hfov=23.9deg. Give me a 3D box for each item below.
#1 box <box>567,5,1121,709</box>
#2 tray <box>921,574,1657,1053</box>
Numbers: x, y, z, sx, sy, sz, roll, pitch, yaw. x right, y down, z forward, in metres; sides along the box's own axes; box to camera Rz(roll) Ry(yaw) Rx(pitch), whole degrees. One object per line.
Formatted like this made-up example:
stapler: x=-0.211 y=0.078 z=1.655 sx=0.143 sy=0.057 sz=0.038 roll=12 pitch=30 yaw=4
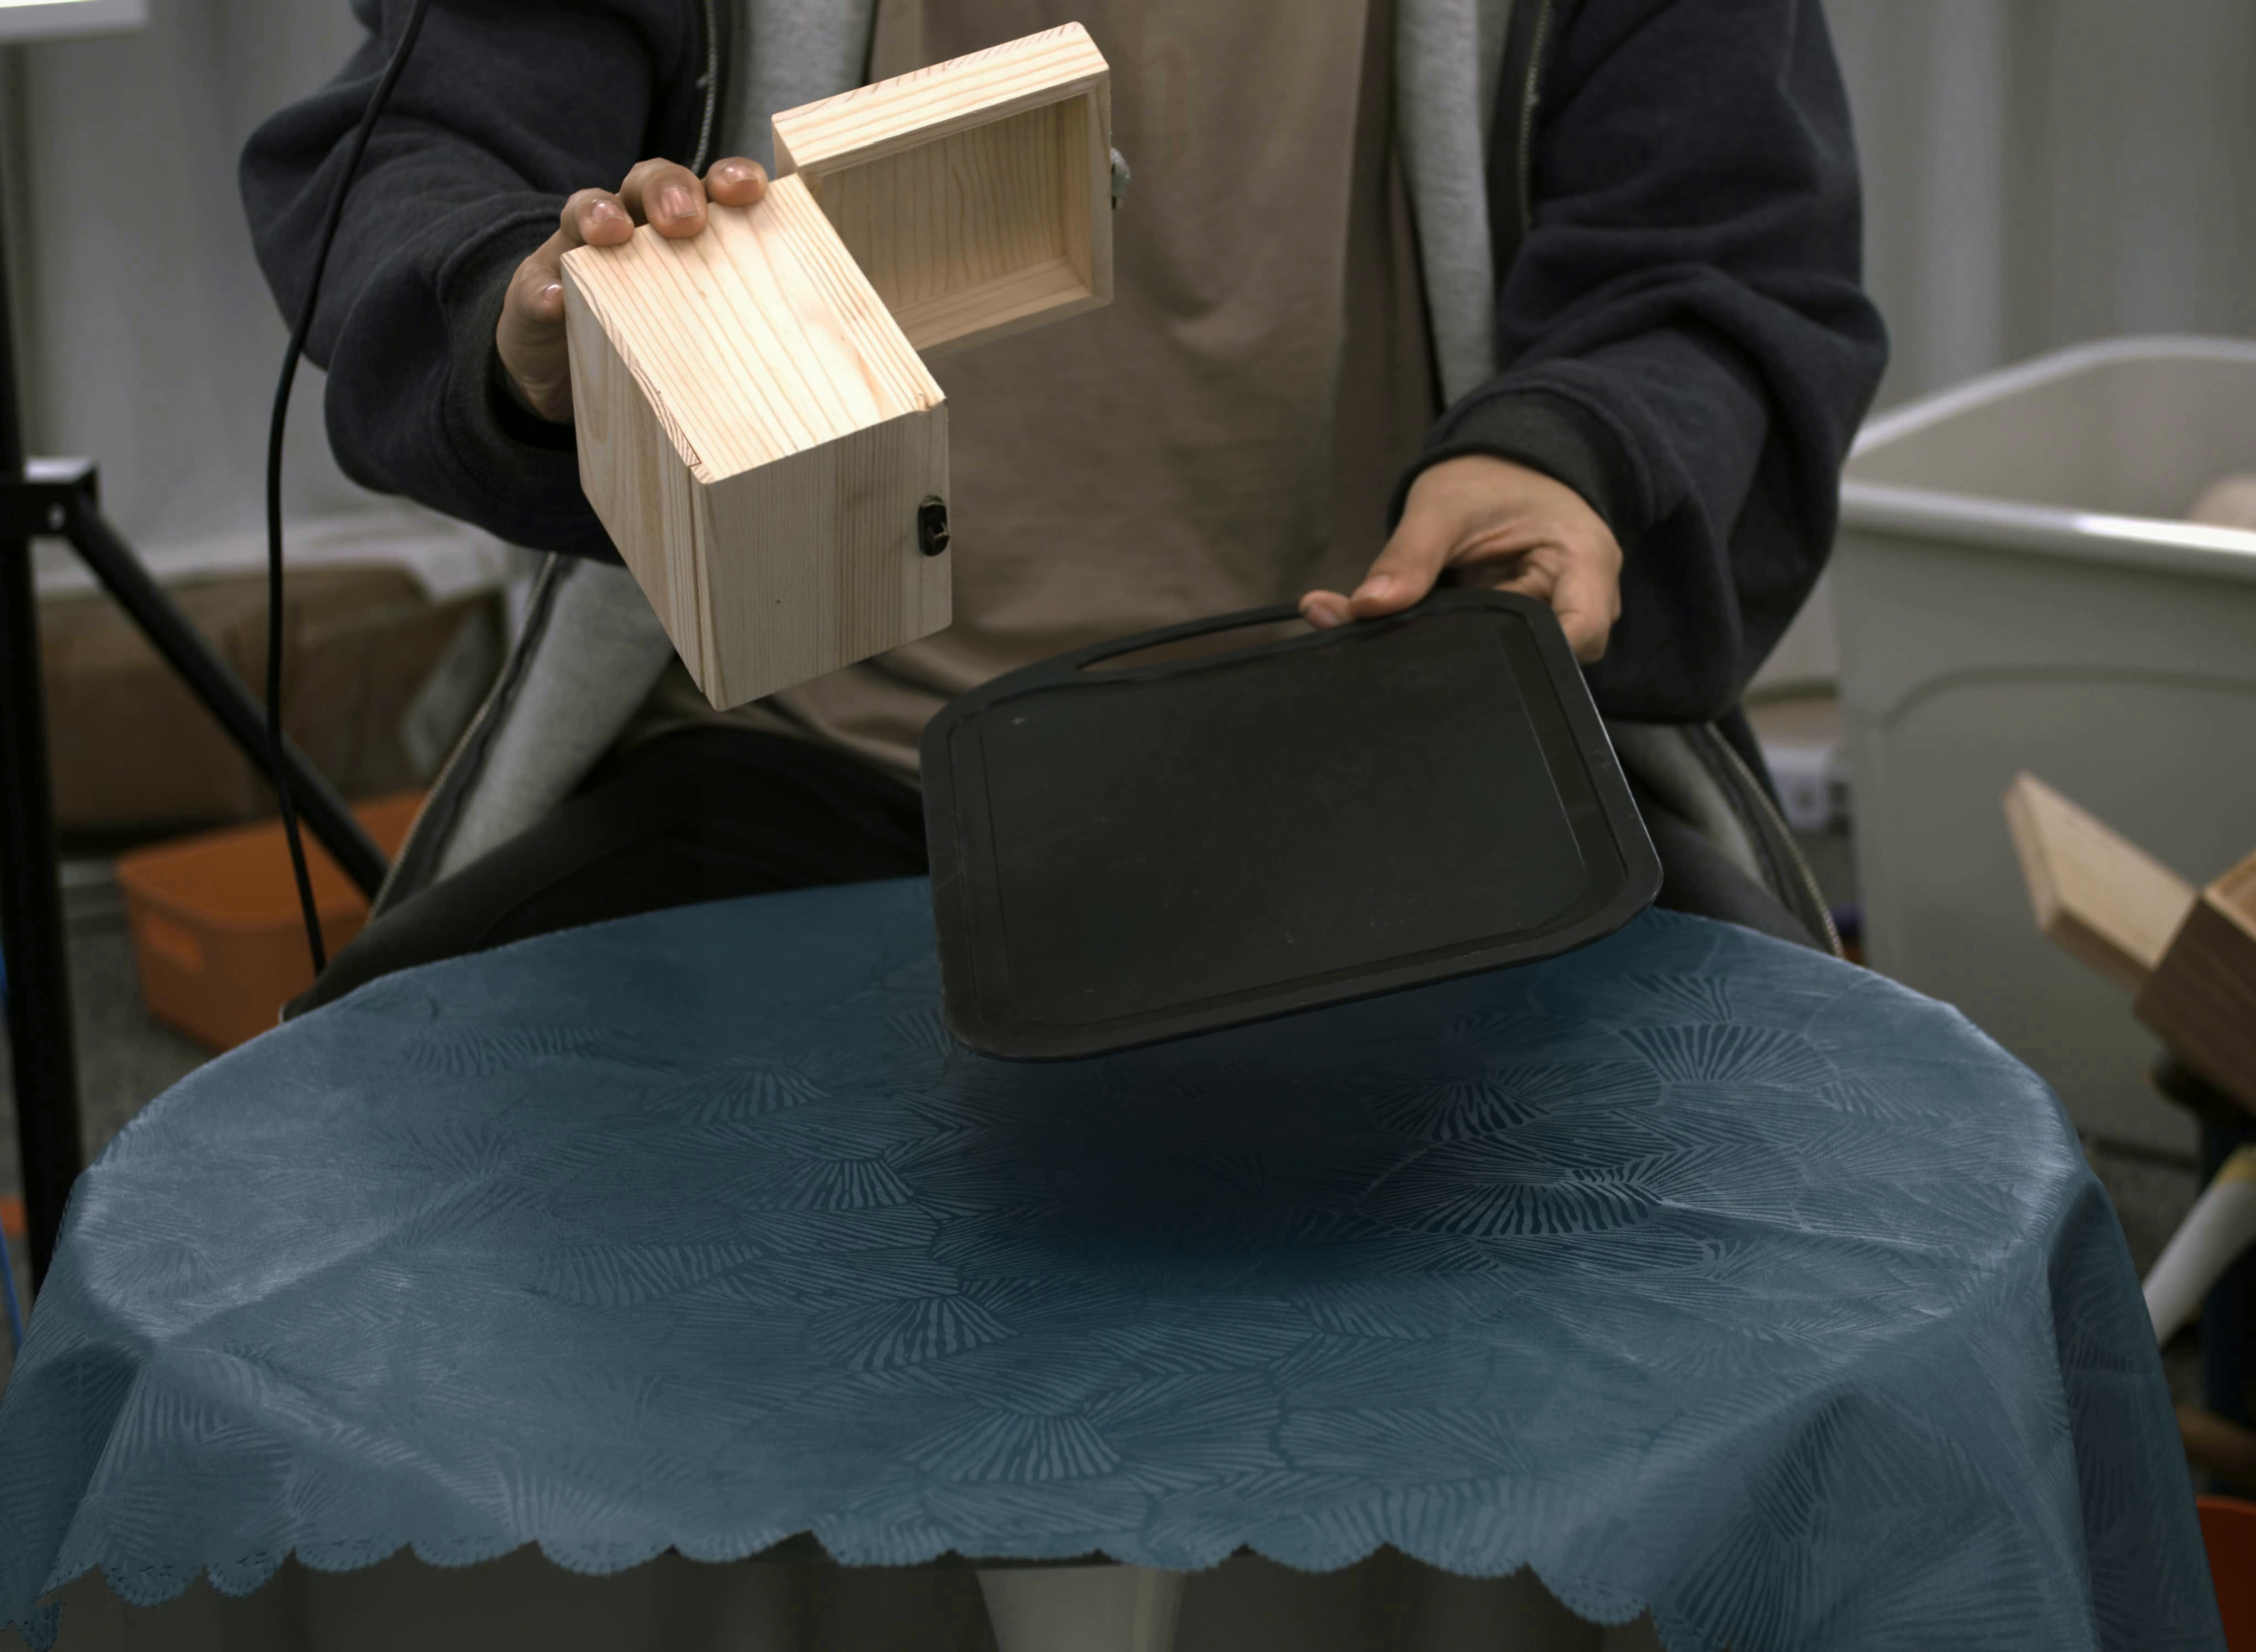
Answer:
box: x=-0.064 y=-0.140 z=1.589 sx=0.182 sy=0.102 sz=0.136 roll=-23 pitch=54 yaw=-15
tray: x=0.041 y=-0.012 z=1.622 sx=0.210 sy=0.010 sz=0.328 roll=-12 pitch=23 yaw=2
